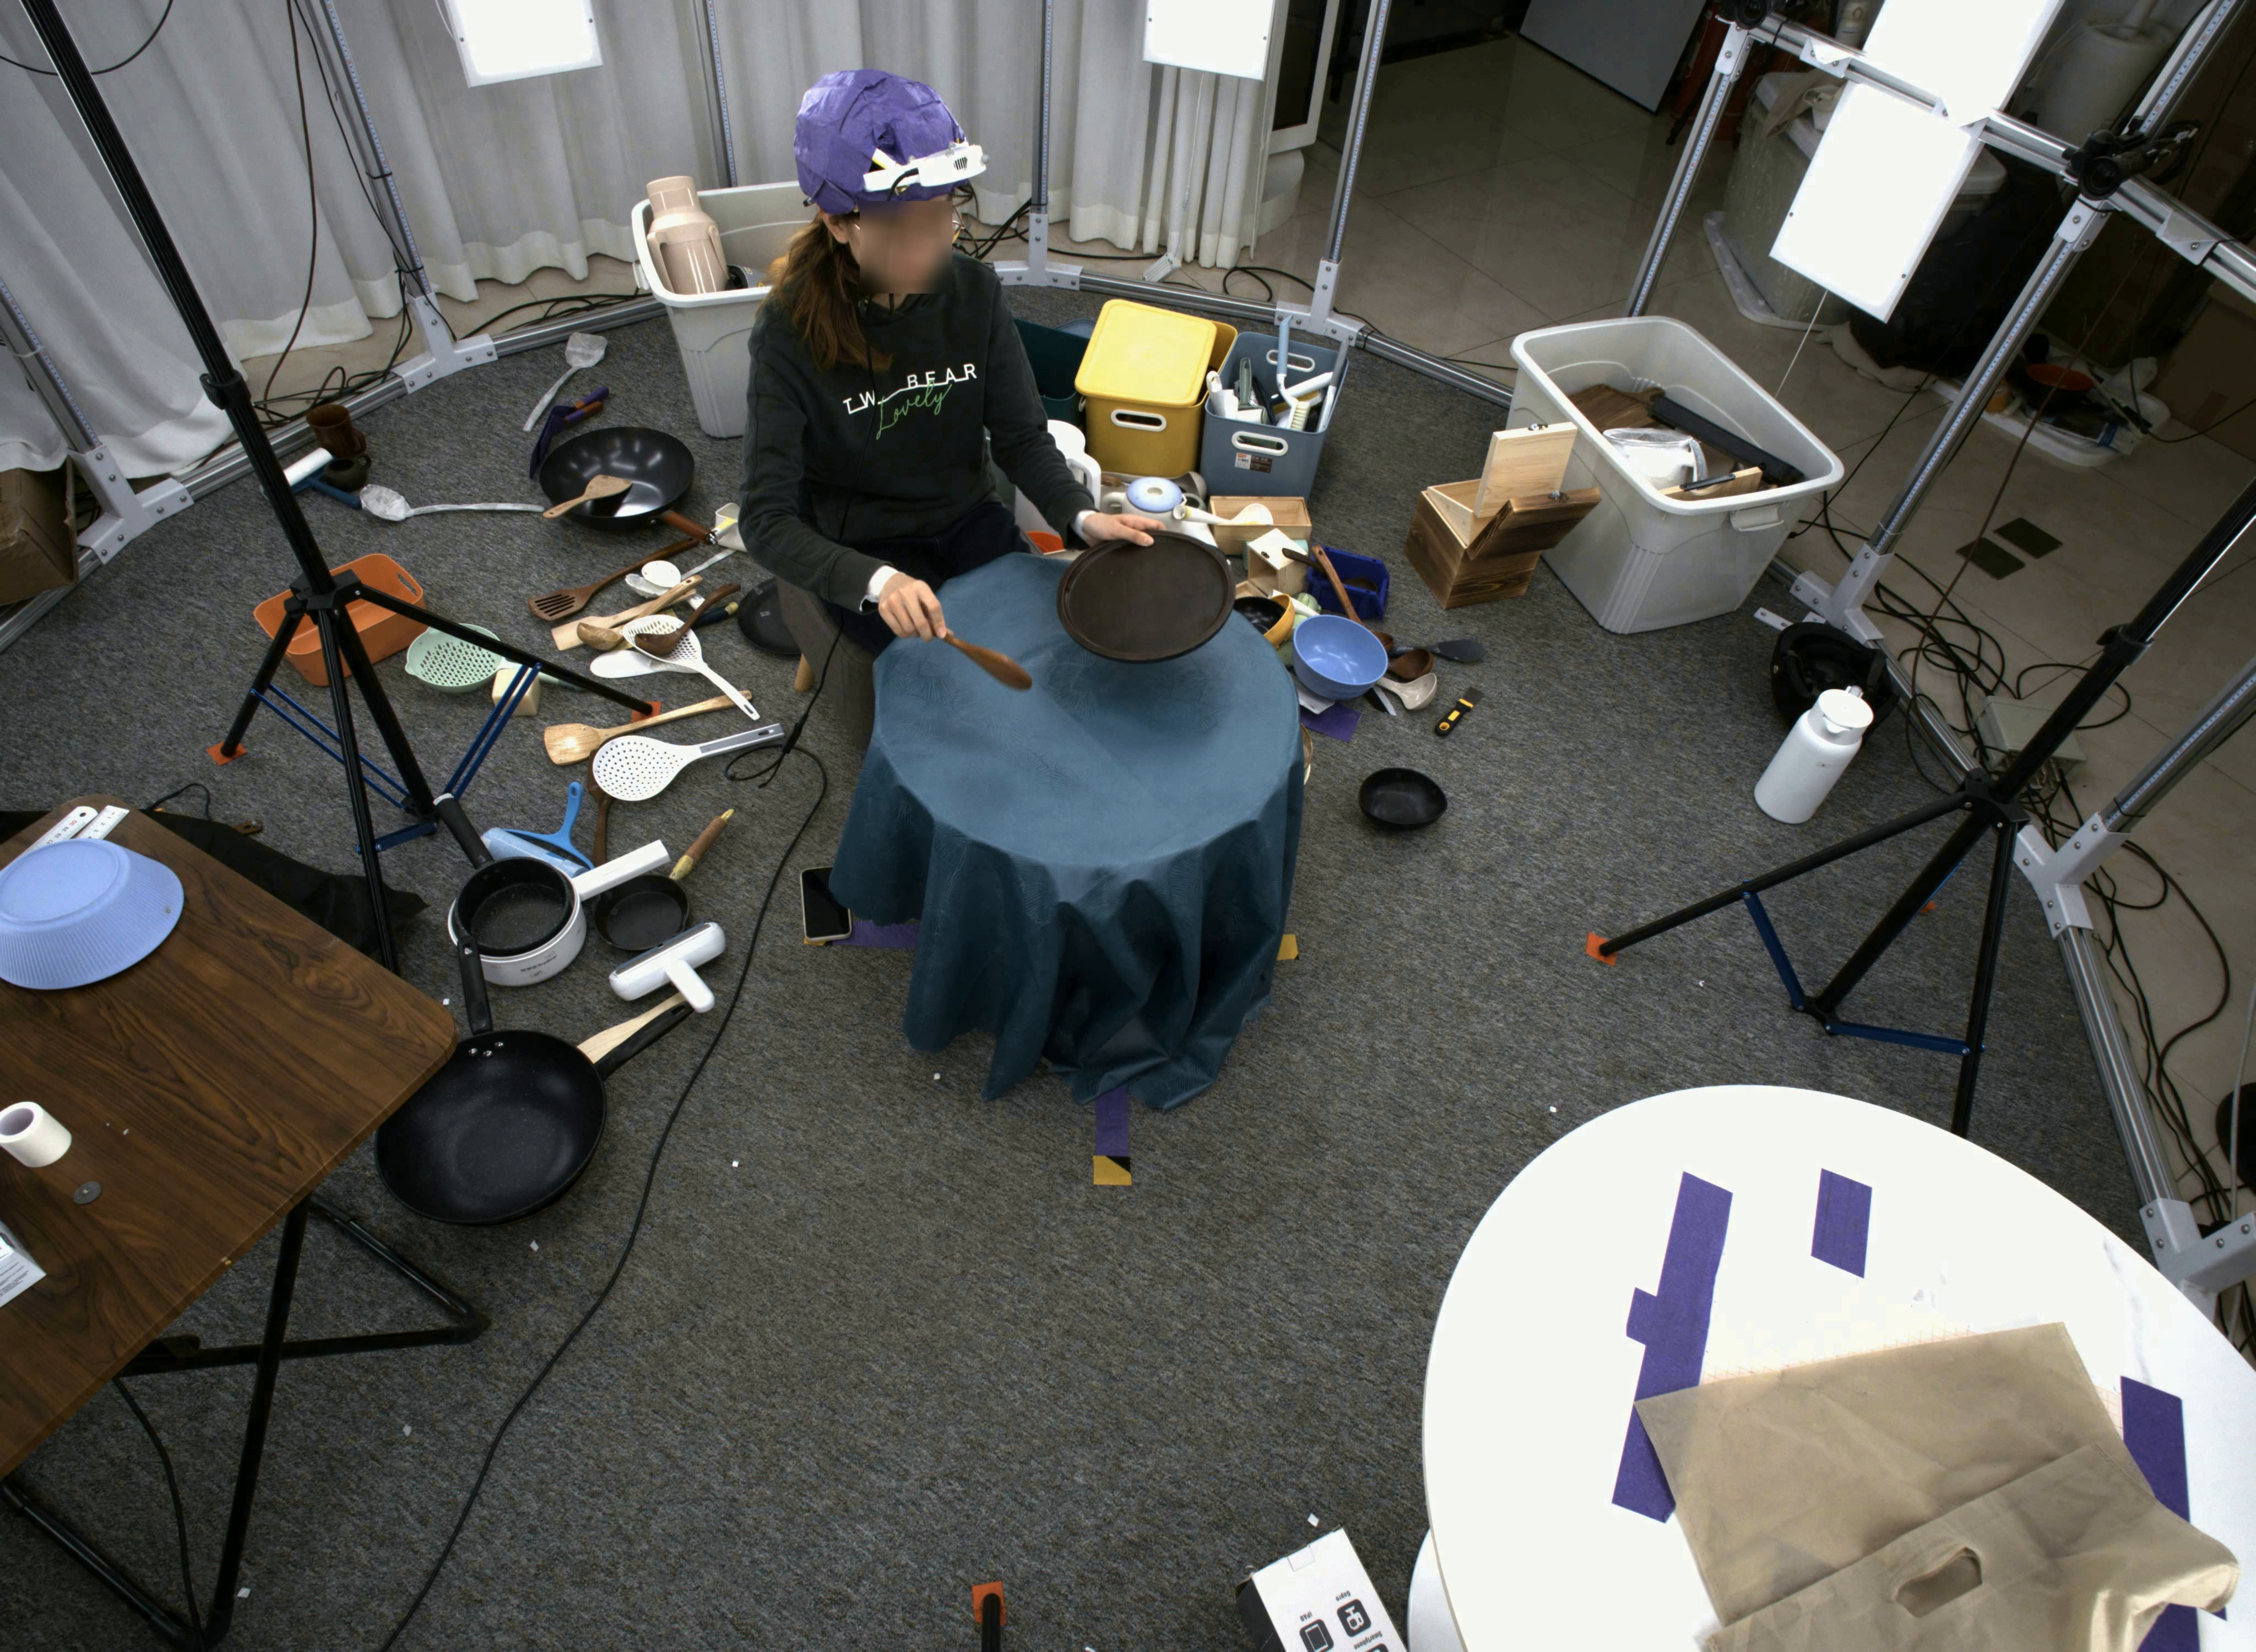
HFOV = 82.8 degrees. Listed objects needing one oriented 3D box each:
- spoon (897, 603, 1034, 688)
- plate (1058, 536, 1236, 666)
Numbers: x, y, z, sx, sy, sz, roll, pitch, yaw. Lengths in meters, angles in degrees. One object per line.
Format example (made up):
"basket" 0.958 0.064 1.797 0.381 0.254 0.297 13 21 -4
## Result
"spoon" -0.215 -0.235 1.682 0.218 0.074 0.017 31 78 17
"plate" 0.027 -0.320 1.821 0.255 0.028 0.261 -3 53 4
